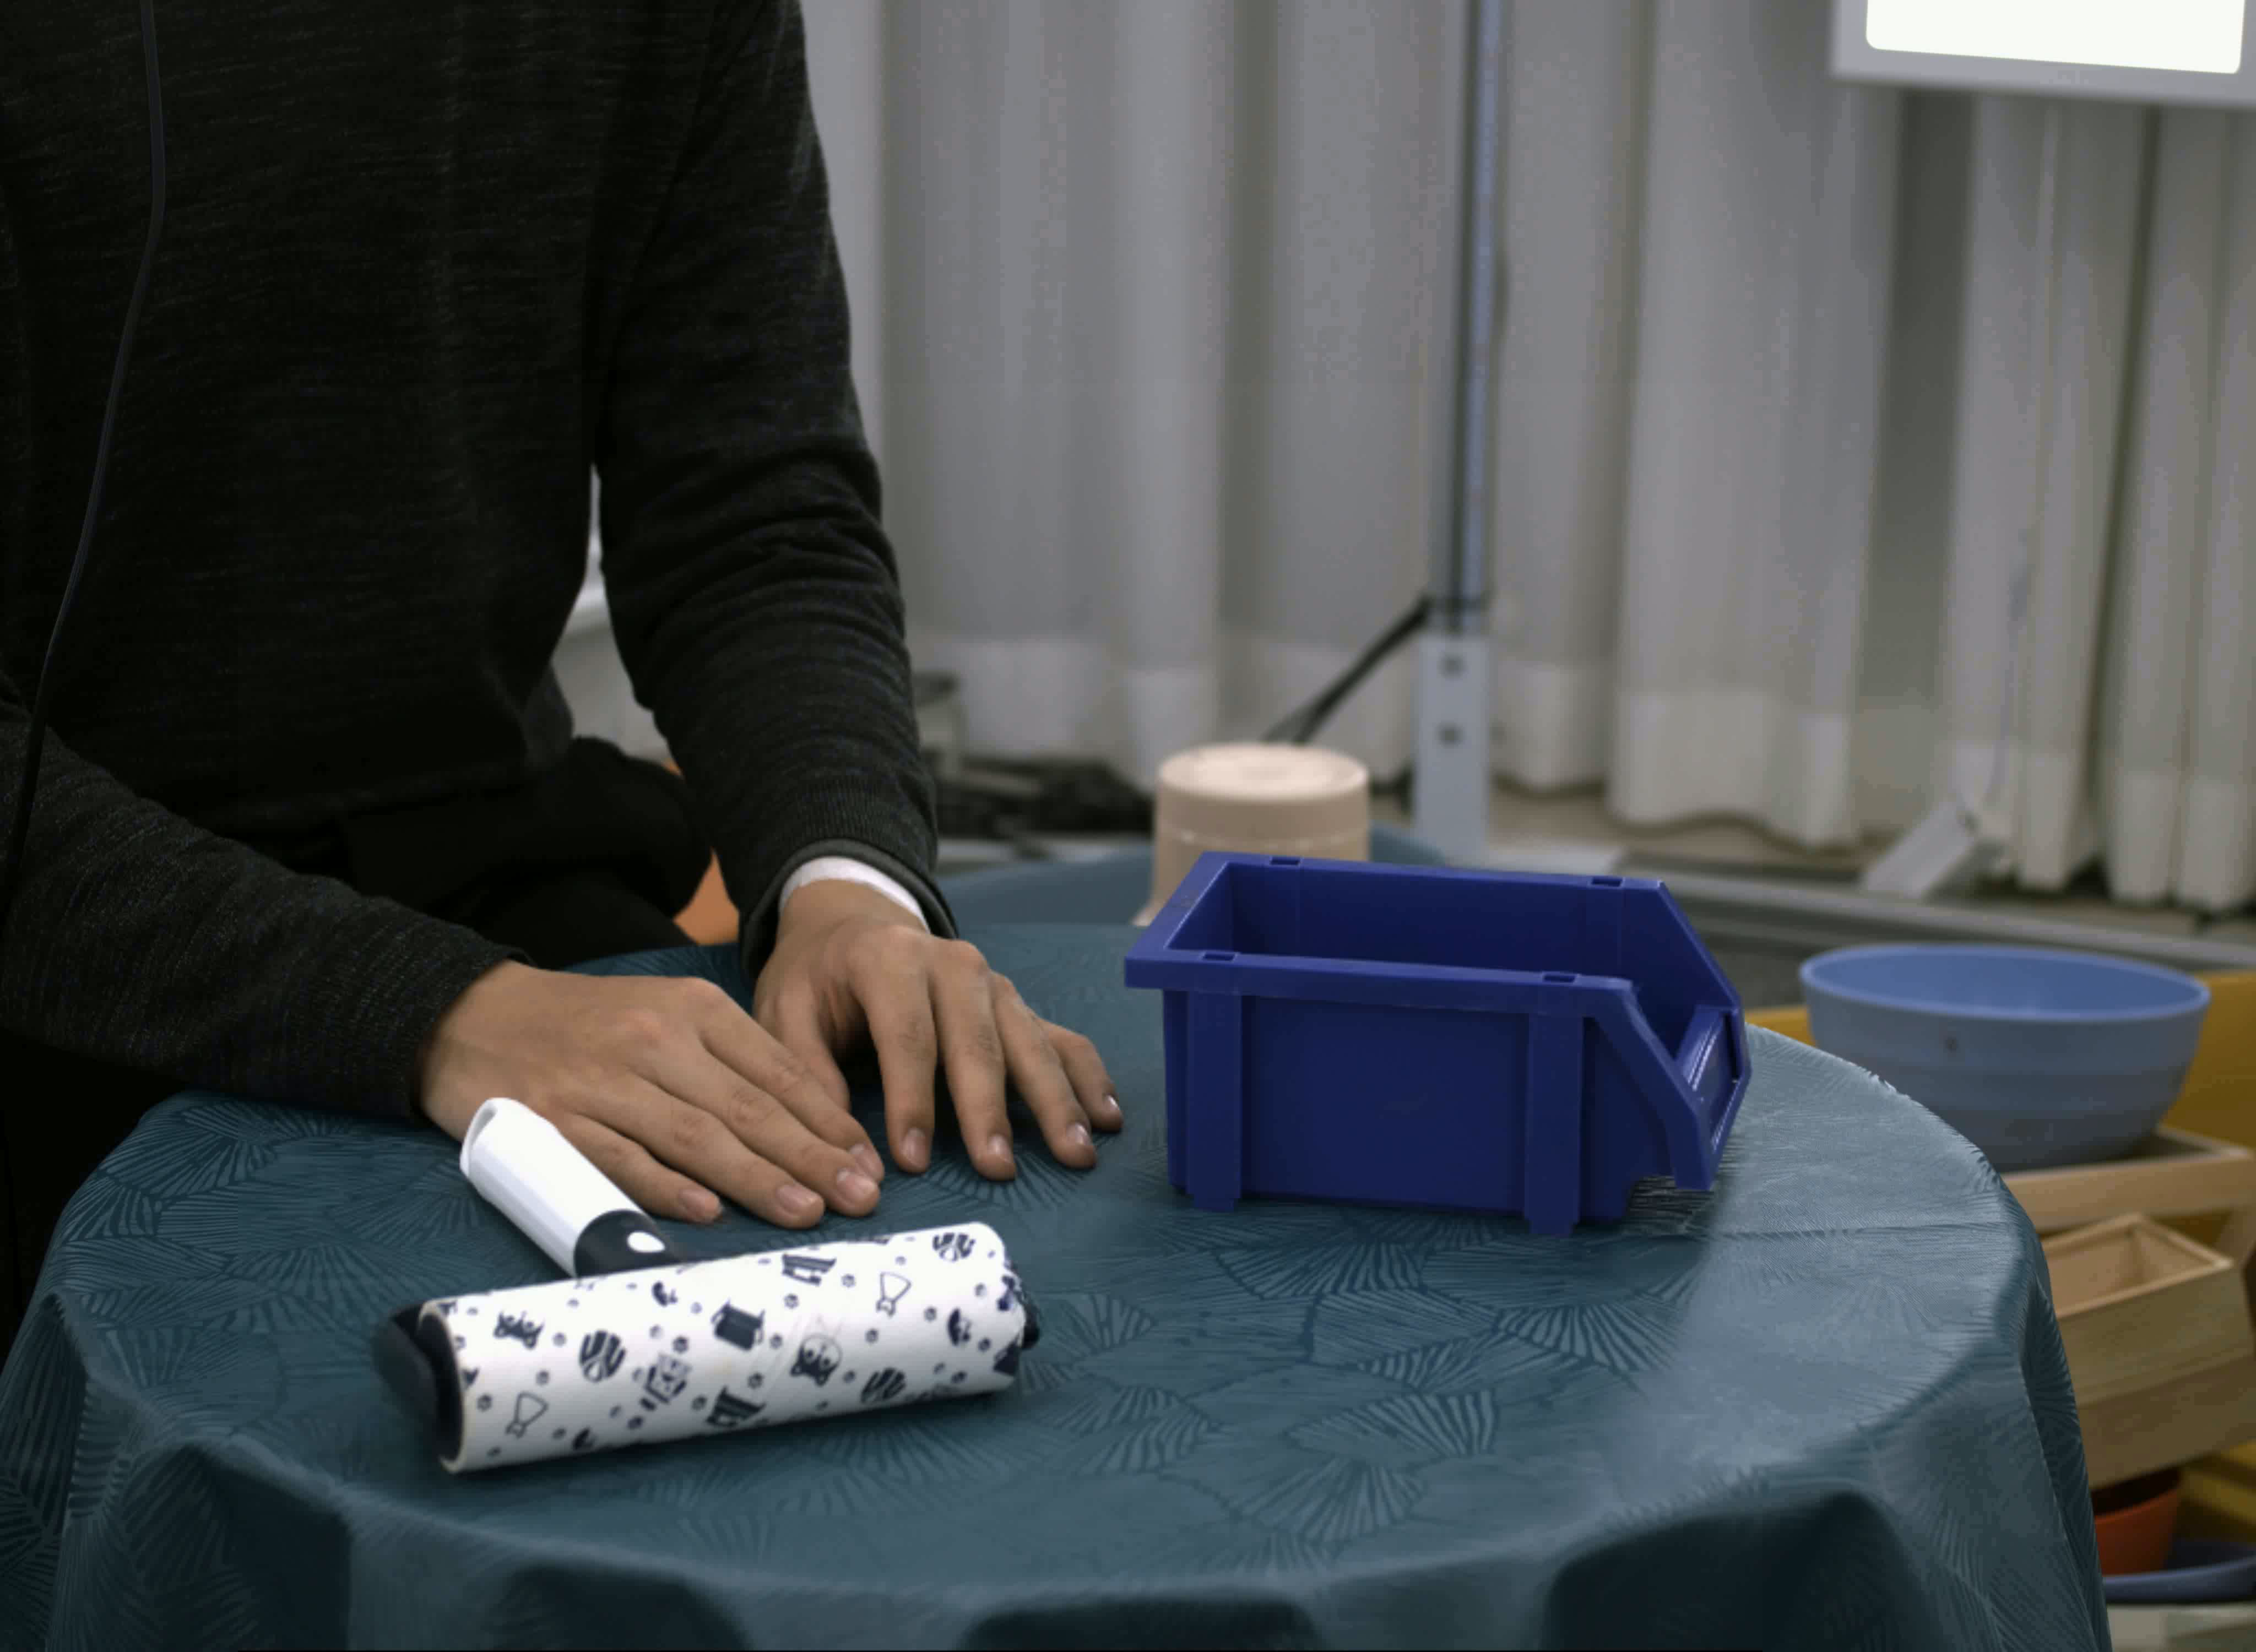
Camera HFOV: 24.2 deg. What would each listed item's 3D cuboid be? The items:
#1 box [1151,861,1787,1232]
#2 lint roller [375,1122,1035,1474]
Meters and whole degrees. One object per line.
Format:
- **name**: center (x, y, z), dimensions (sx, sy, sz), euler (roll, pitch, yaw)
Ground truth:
- **box**: center (0.109, 0.066, 1.637), dimensions (0.178, 0.082, 0.124), euler (1, 15, 13)
- **lint roller**: center (-0.152, 0.119, 1.514), dimensions (0.177, 0.051, 0.244), euler (-7, 16, -23)
